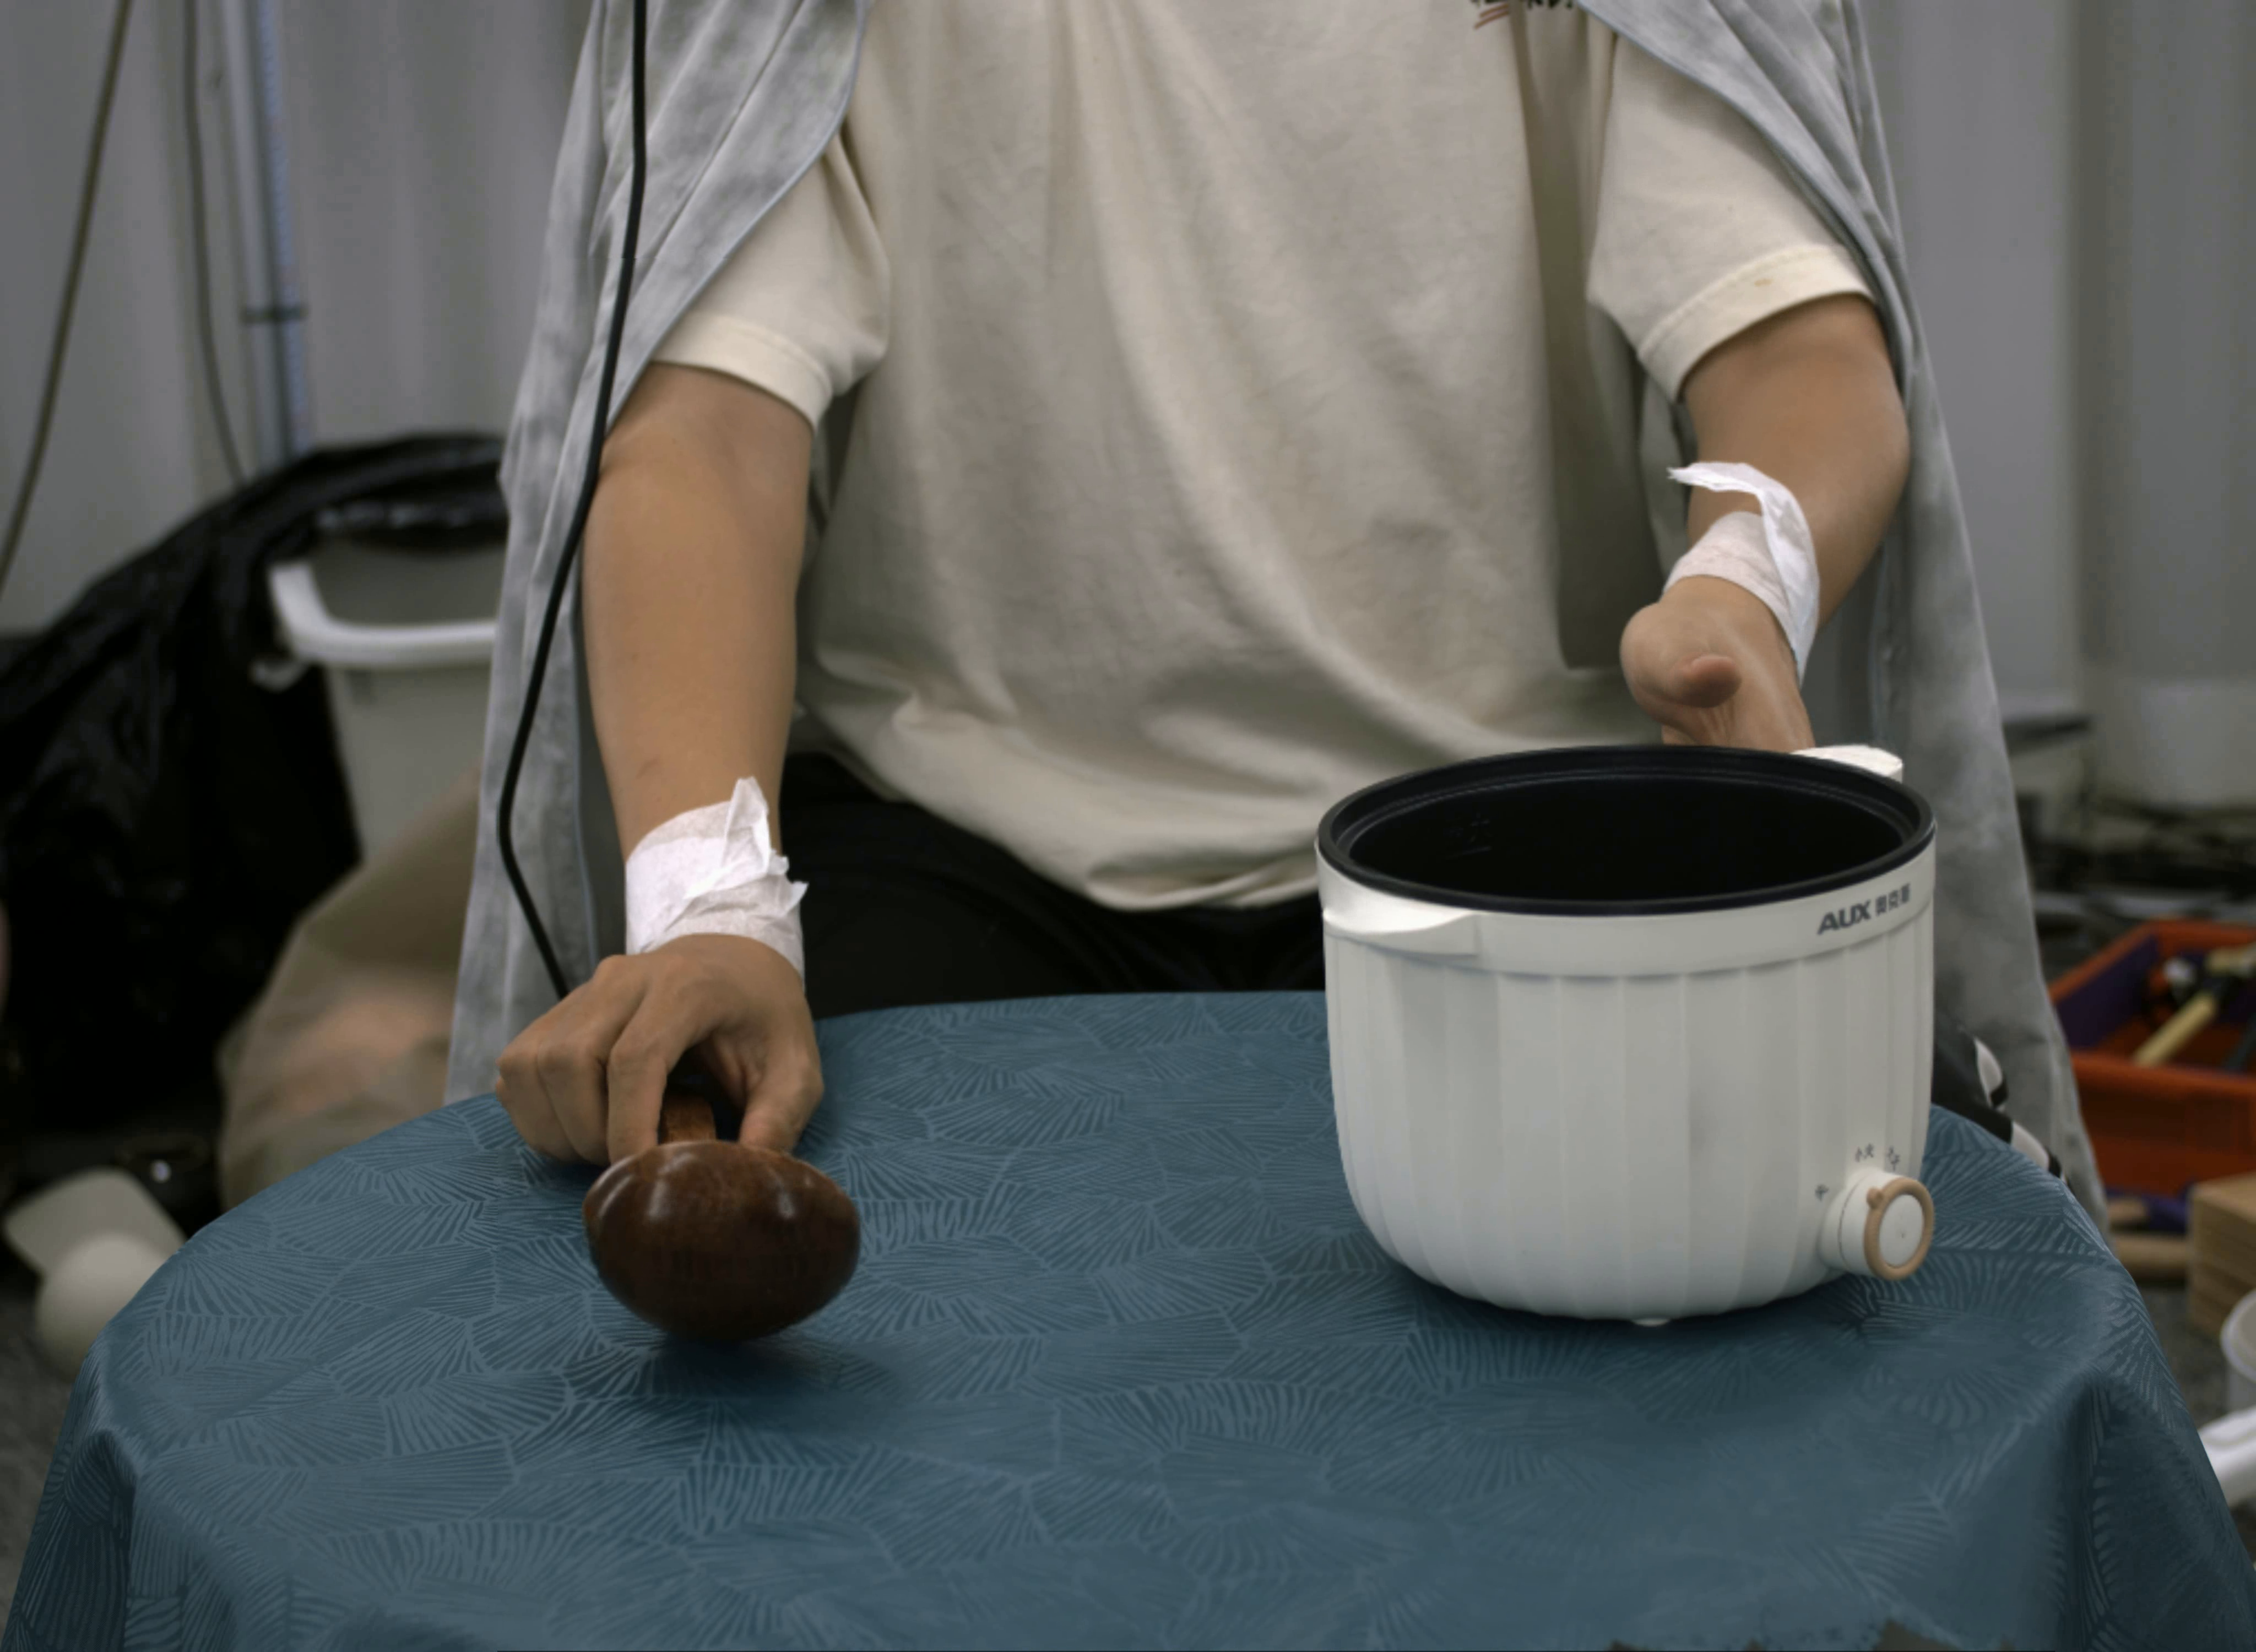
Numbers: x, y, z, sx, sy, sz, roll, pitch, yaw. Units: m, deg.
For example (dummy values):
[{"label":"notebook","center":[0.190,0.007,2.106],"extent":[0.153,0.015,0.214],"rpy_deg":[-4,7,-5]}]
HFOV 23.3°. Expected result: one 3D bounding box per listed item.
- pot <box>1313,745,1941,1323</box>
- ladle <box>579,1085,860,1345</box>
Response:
[{"label":"pot","center":[0.153,0.063,1.617],"extent":[0.240,0.142,0.191],"rpy_deg":[-18,17,-42]},{"label":"ladle","center":[-0.127,0.094,1.673],"extent":[0.081,0.076,0.276],"rpy_deg":[18,12,-9]}]
